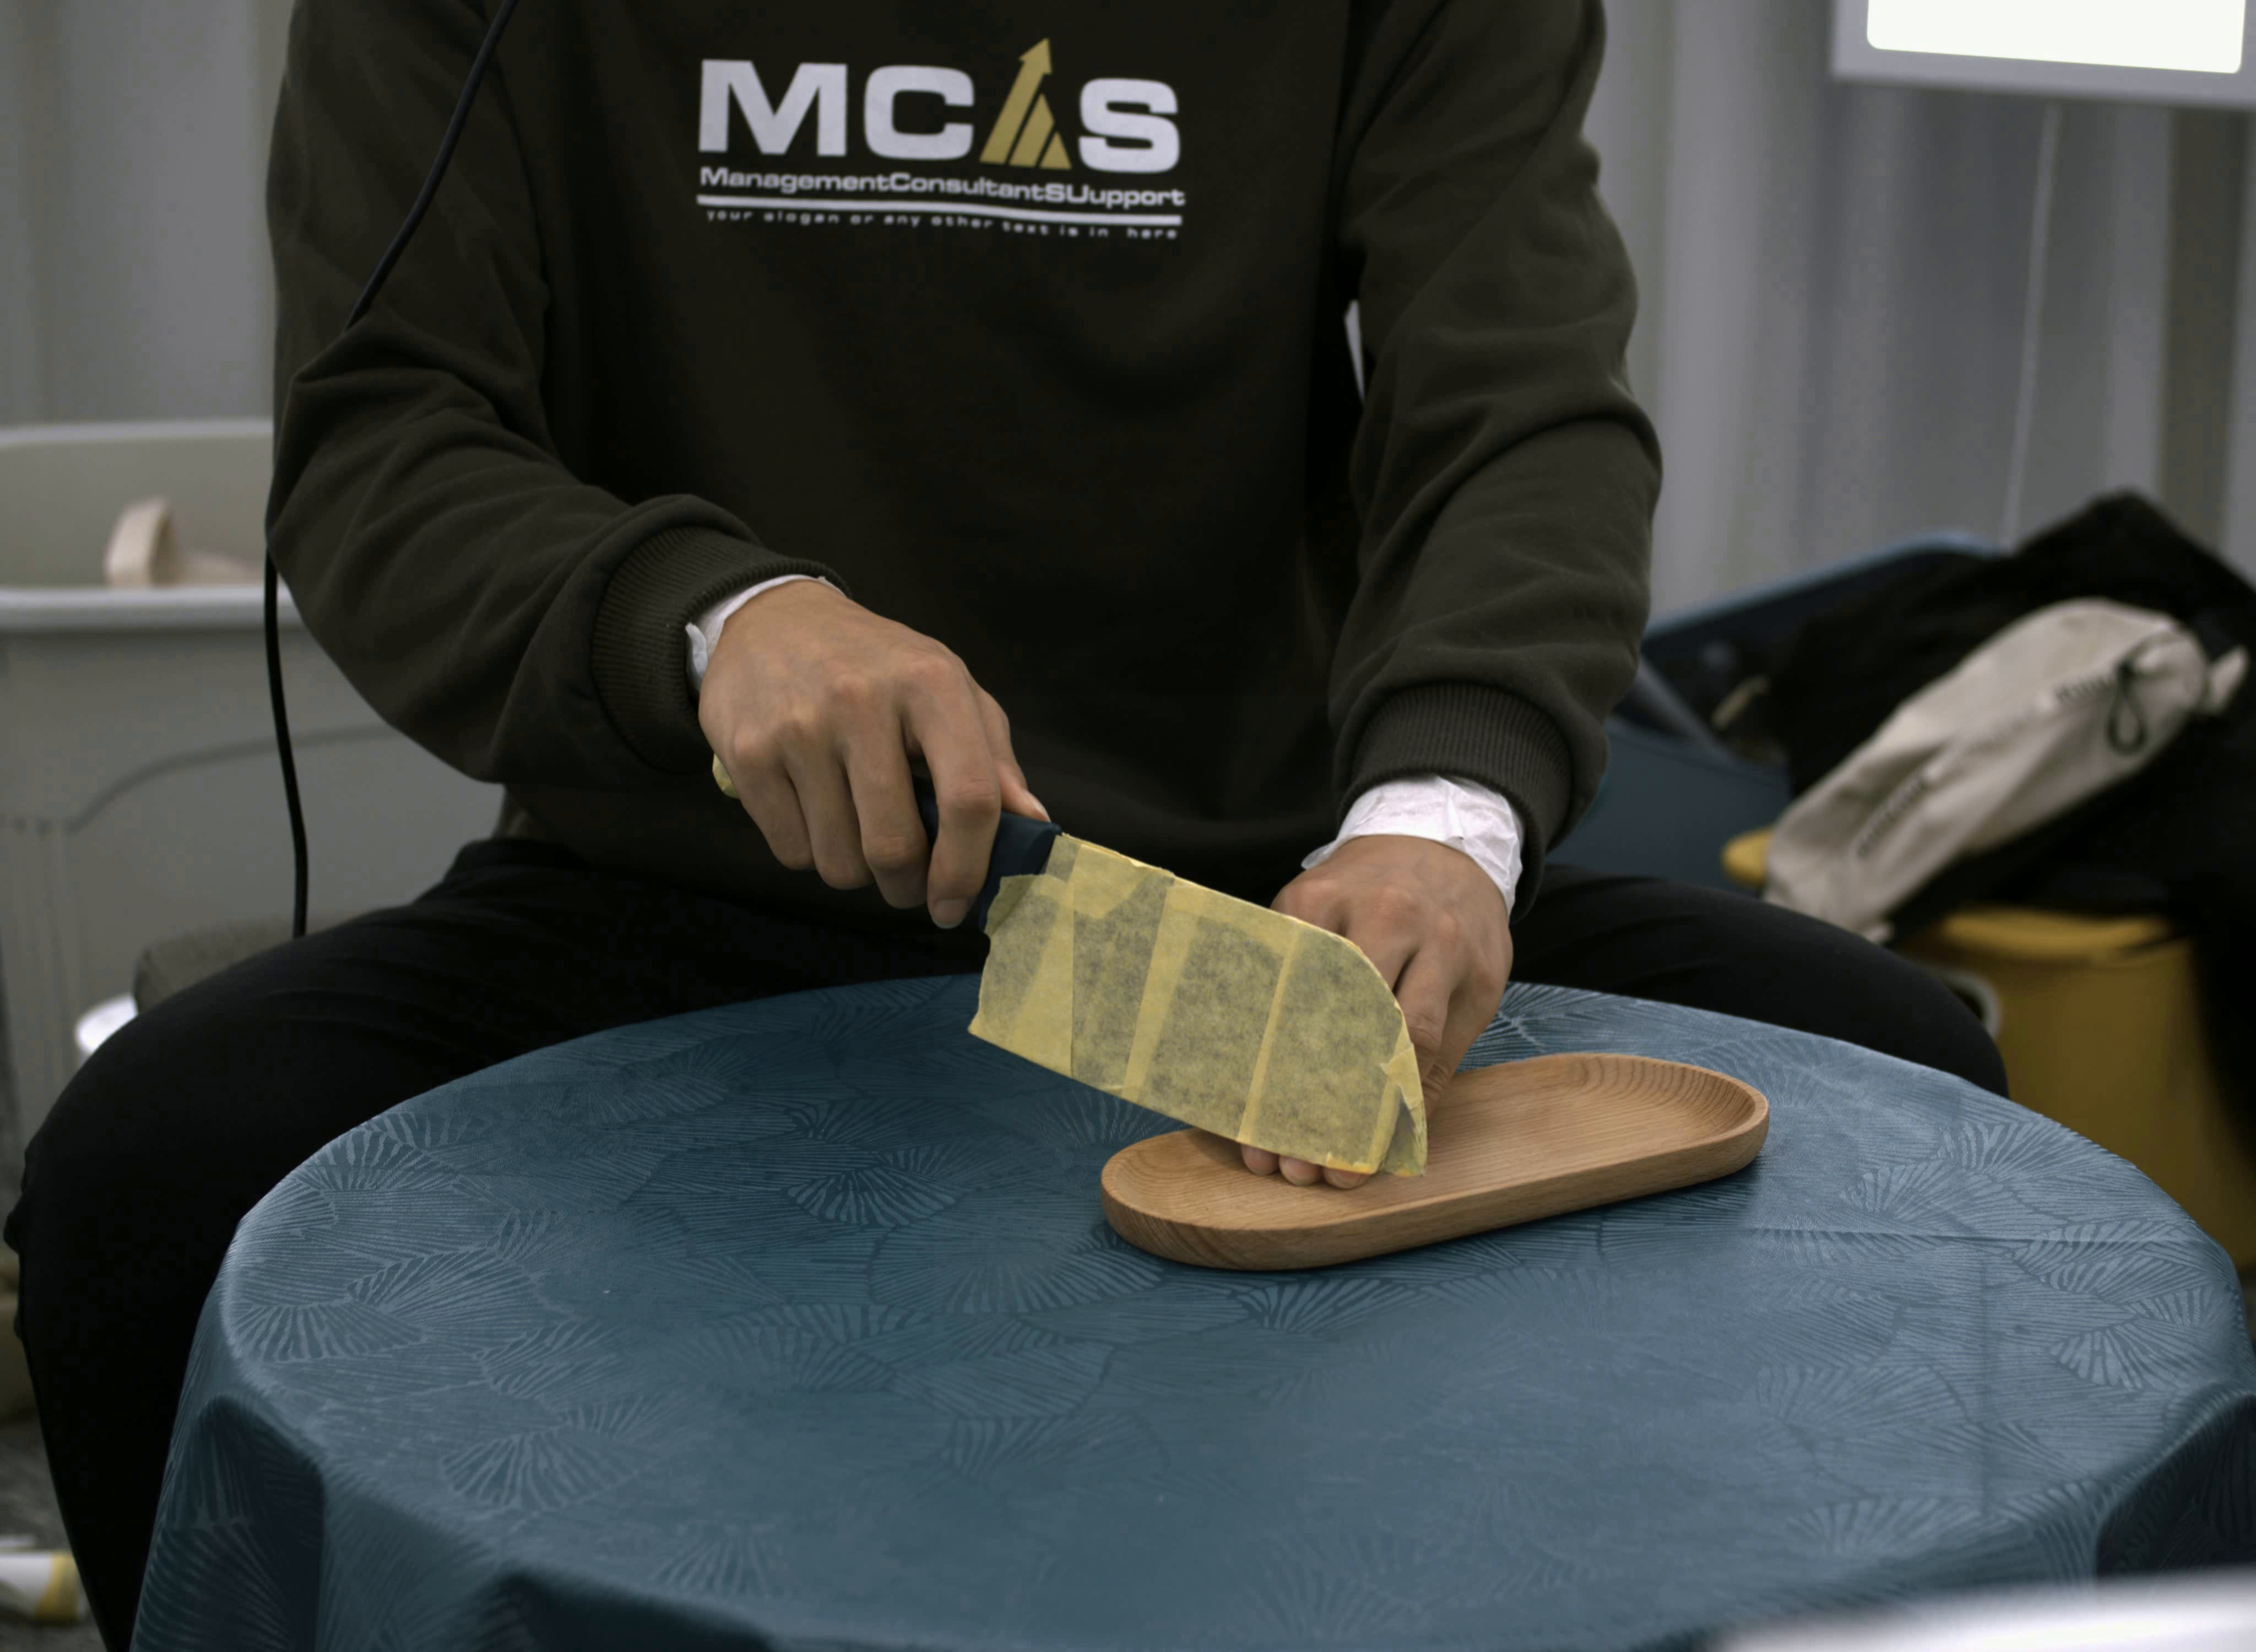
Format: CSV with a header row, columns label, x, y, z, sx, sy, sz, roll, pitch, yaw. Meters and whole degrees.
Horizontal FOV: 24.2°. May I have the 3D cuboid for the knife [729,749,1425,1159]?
label,x,y,z,sx,sy,sz,roll,pitch,yaw
knife,-0.021,0.037,1.658,0.285,0.081,0.027,23,10,33

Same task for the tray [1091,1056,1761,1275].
label,x,y,z,sx,sy,sz,roll,pitch,yaw
tray,0.094,0.104,1.629,0.232,0.020,0.100,-11,17,-32
